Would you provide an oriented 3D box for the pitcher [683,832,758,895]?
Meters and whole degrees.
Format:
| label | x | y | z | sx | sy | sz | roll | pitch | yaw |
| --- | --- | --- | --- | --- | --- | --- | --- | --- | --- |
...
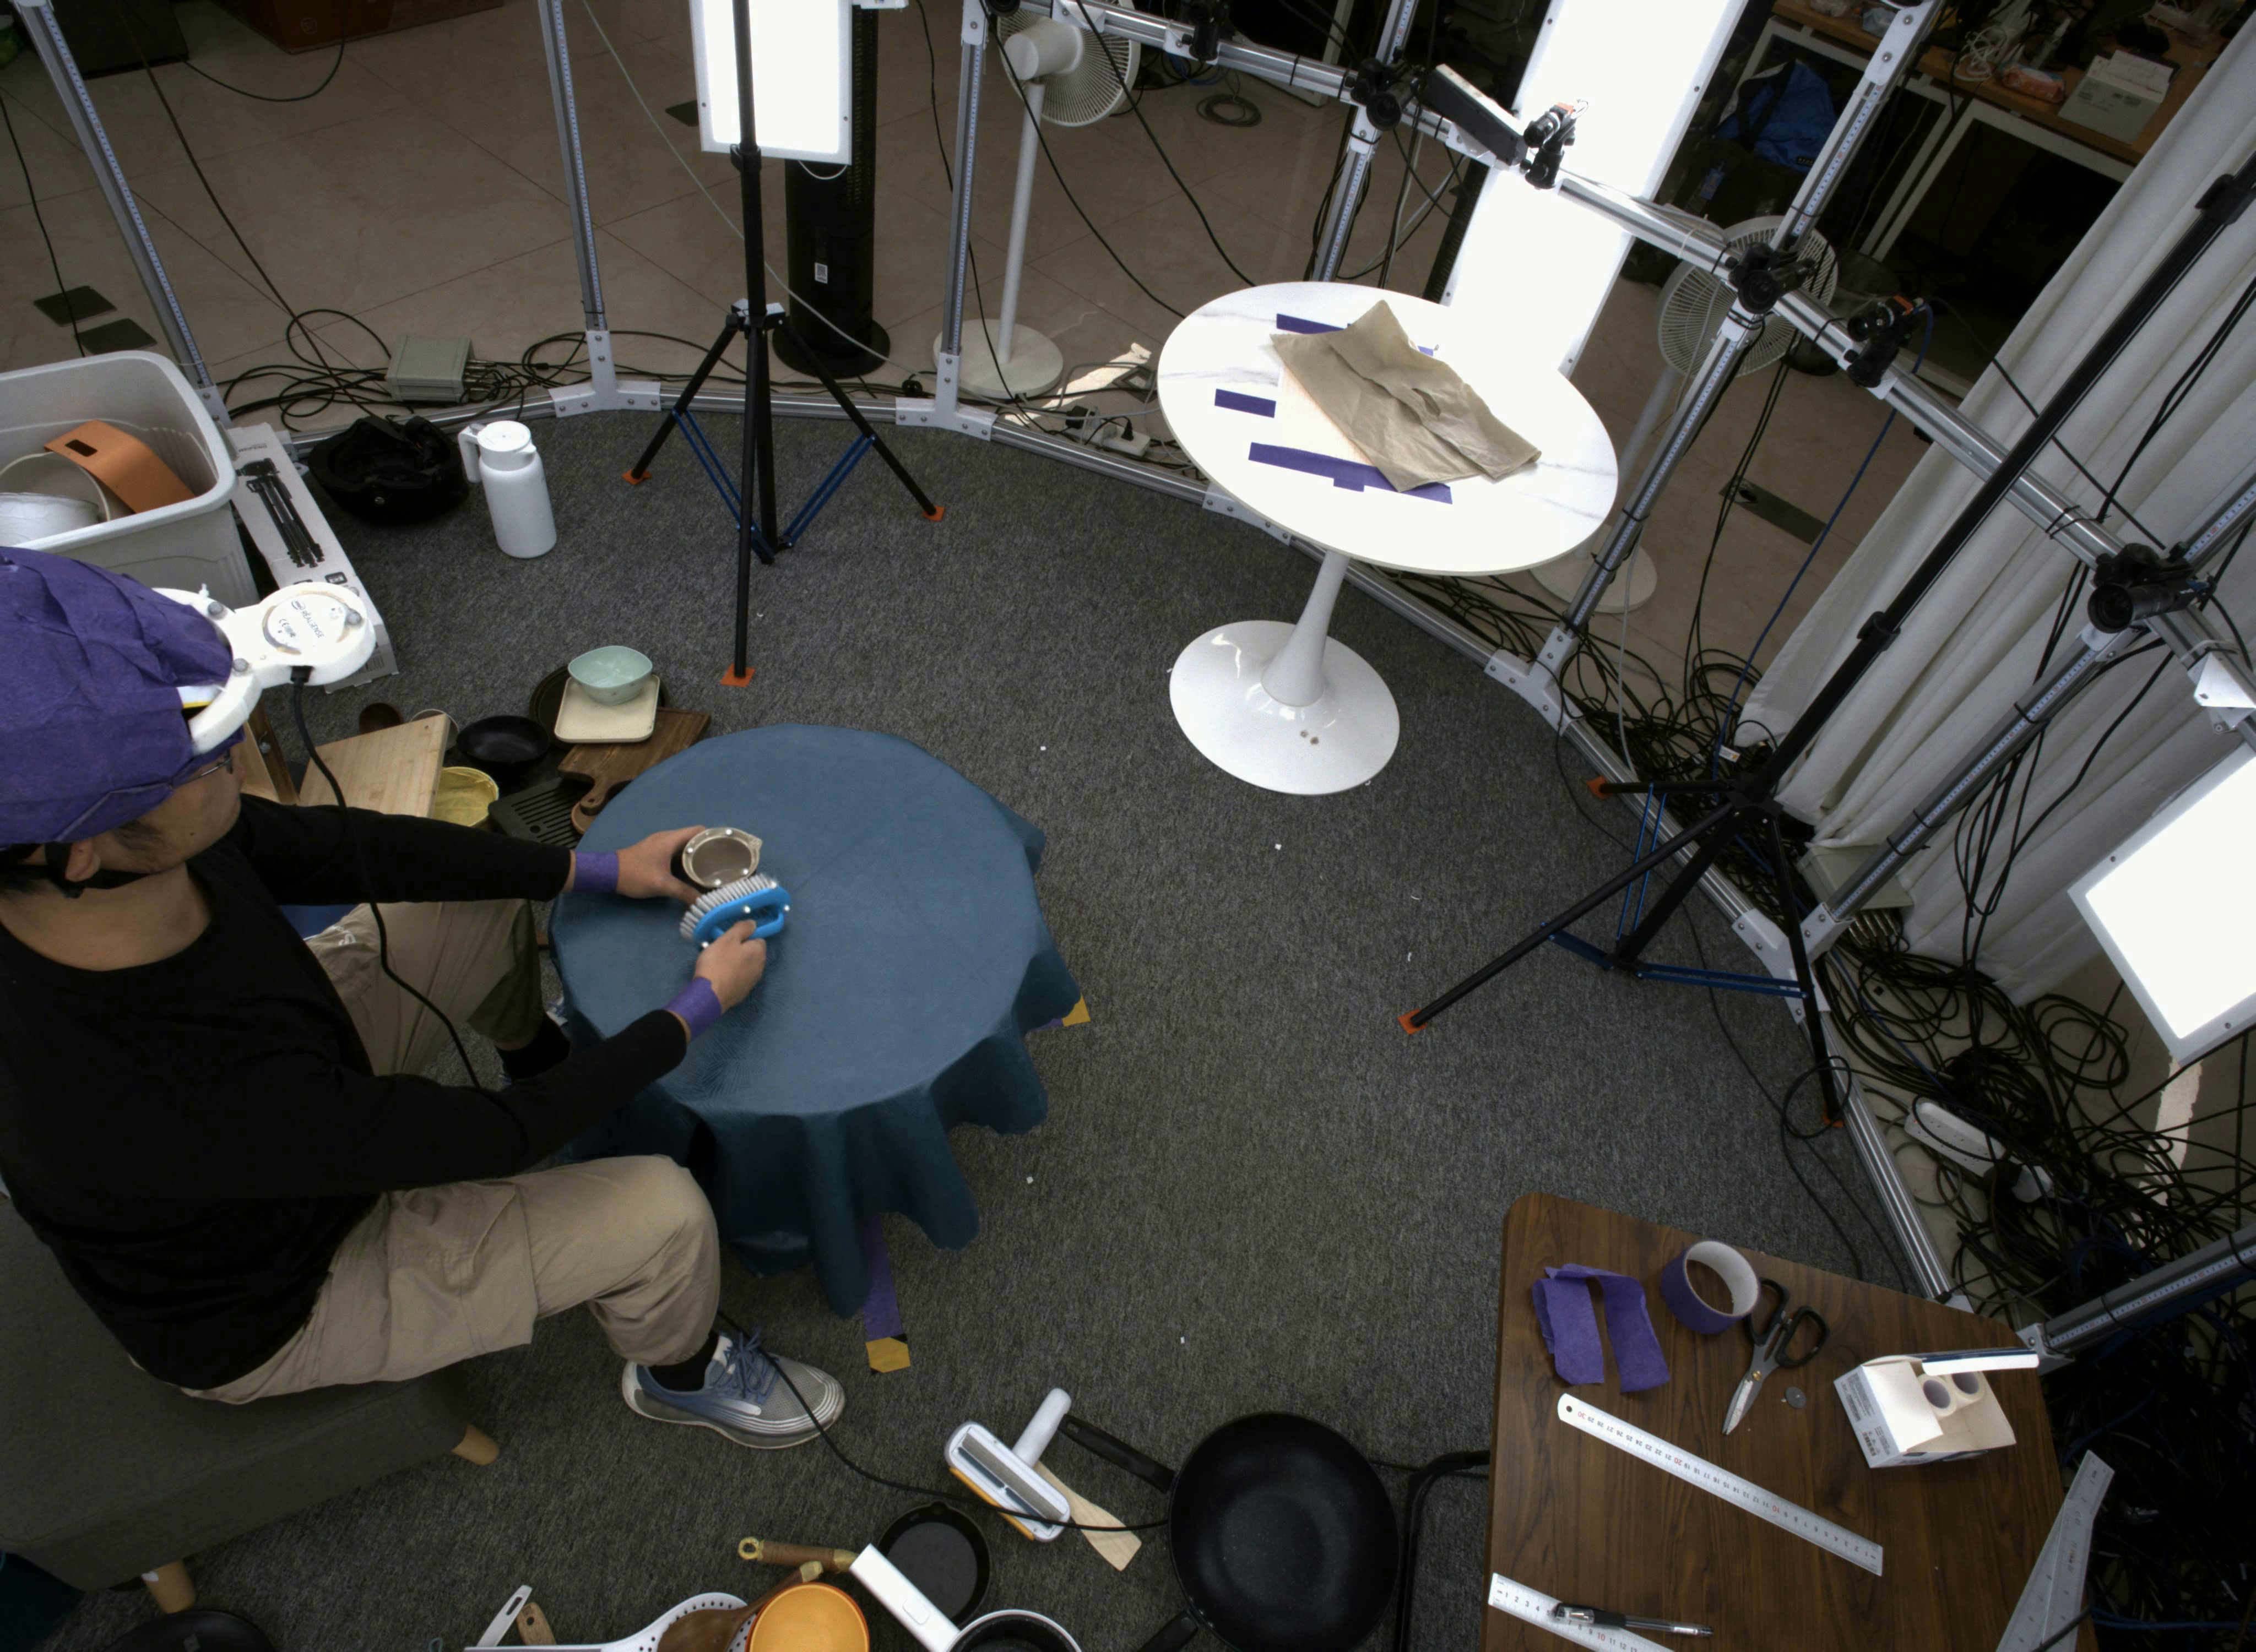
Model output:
| label | x | y | z | sx | sy | sz | roll | pitch | yaw |
| --- | --- | --- | --- | --- | --- | --- | --- | --- | --- |
| pitcher | -0.508 | 0.054 | 1.617 | 0.096 | 0.073 | 0.081 | -20 | 57 | -28 |

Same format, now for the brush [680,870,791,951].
| label | x | y | z | sx | sy | sz | roll | pitch | yaw |
| --- | --- | --- | --- | --- | --- | --- | --- | --- | --- |
| brush | -0.467 | 0.109 | 1.566 | 0.062 | 0.085 | 0.143 | 42 | 36 | 23 |
